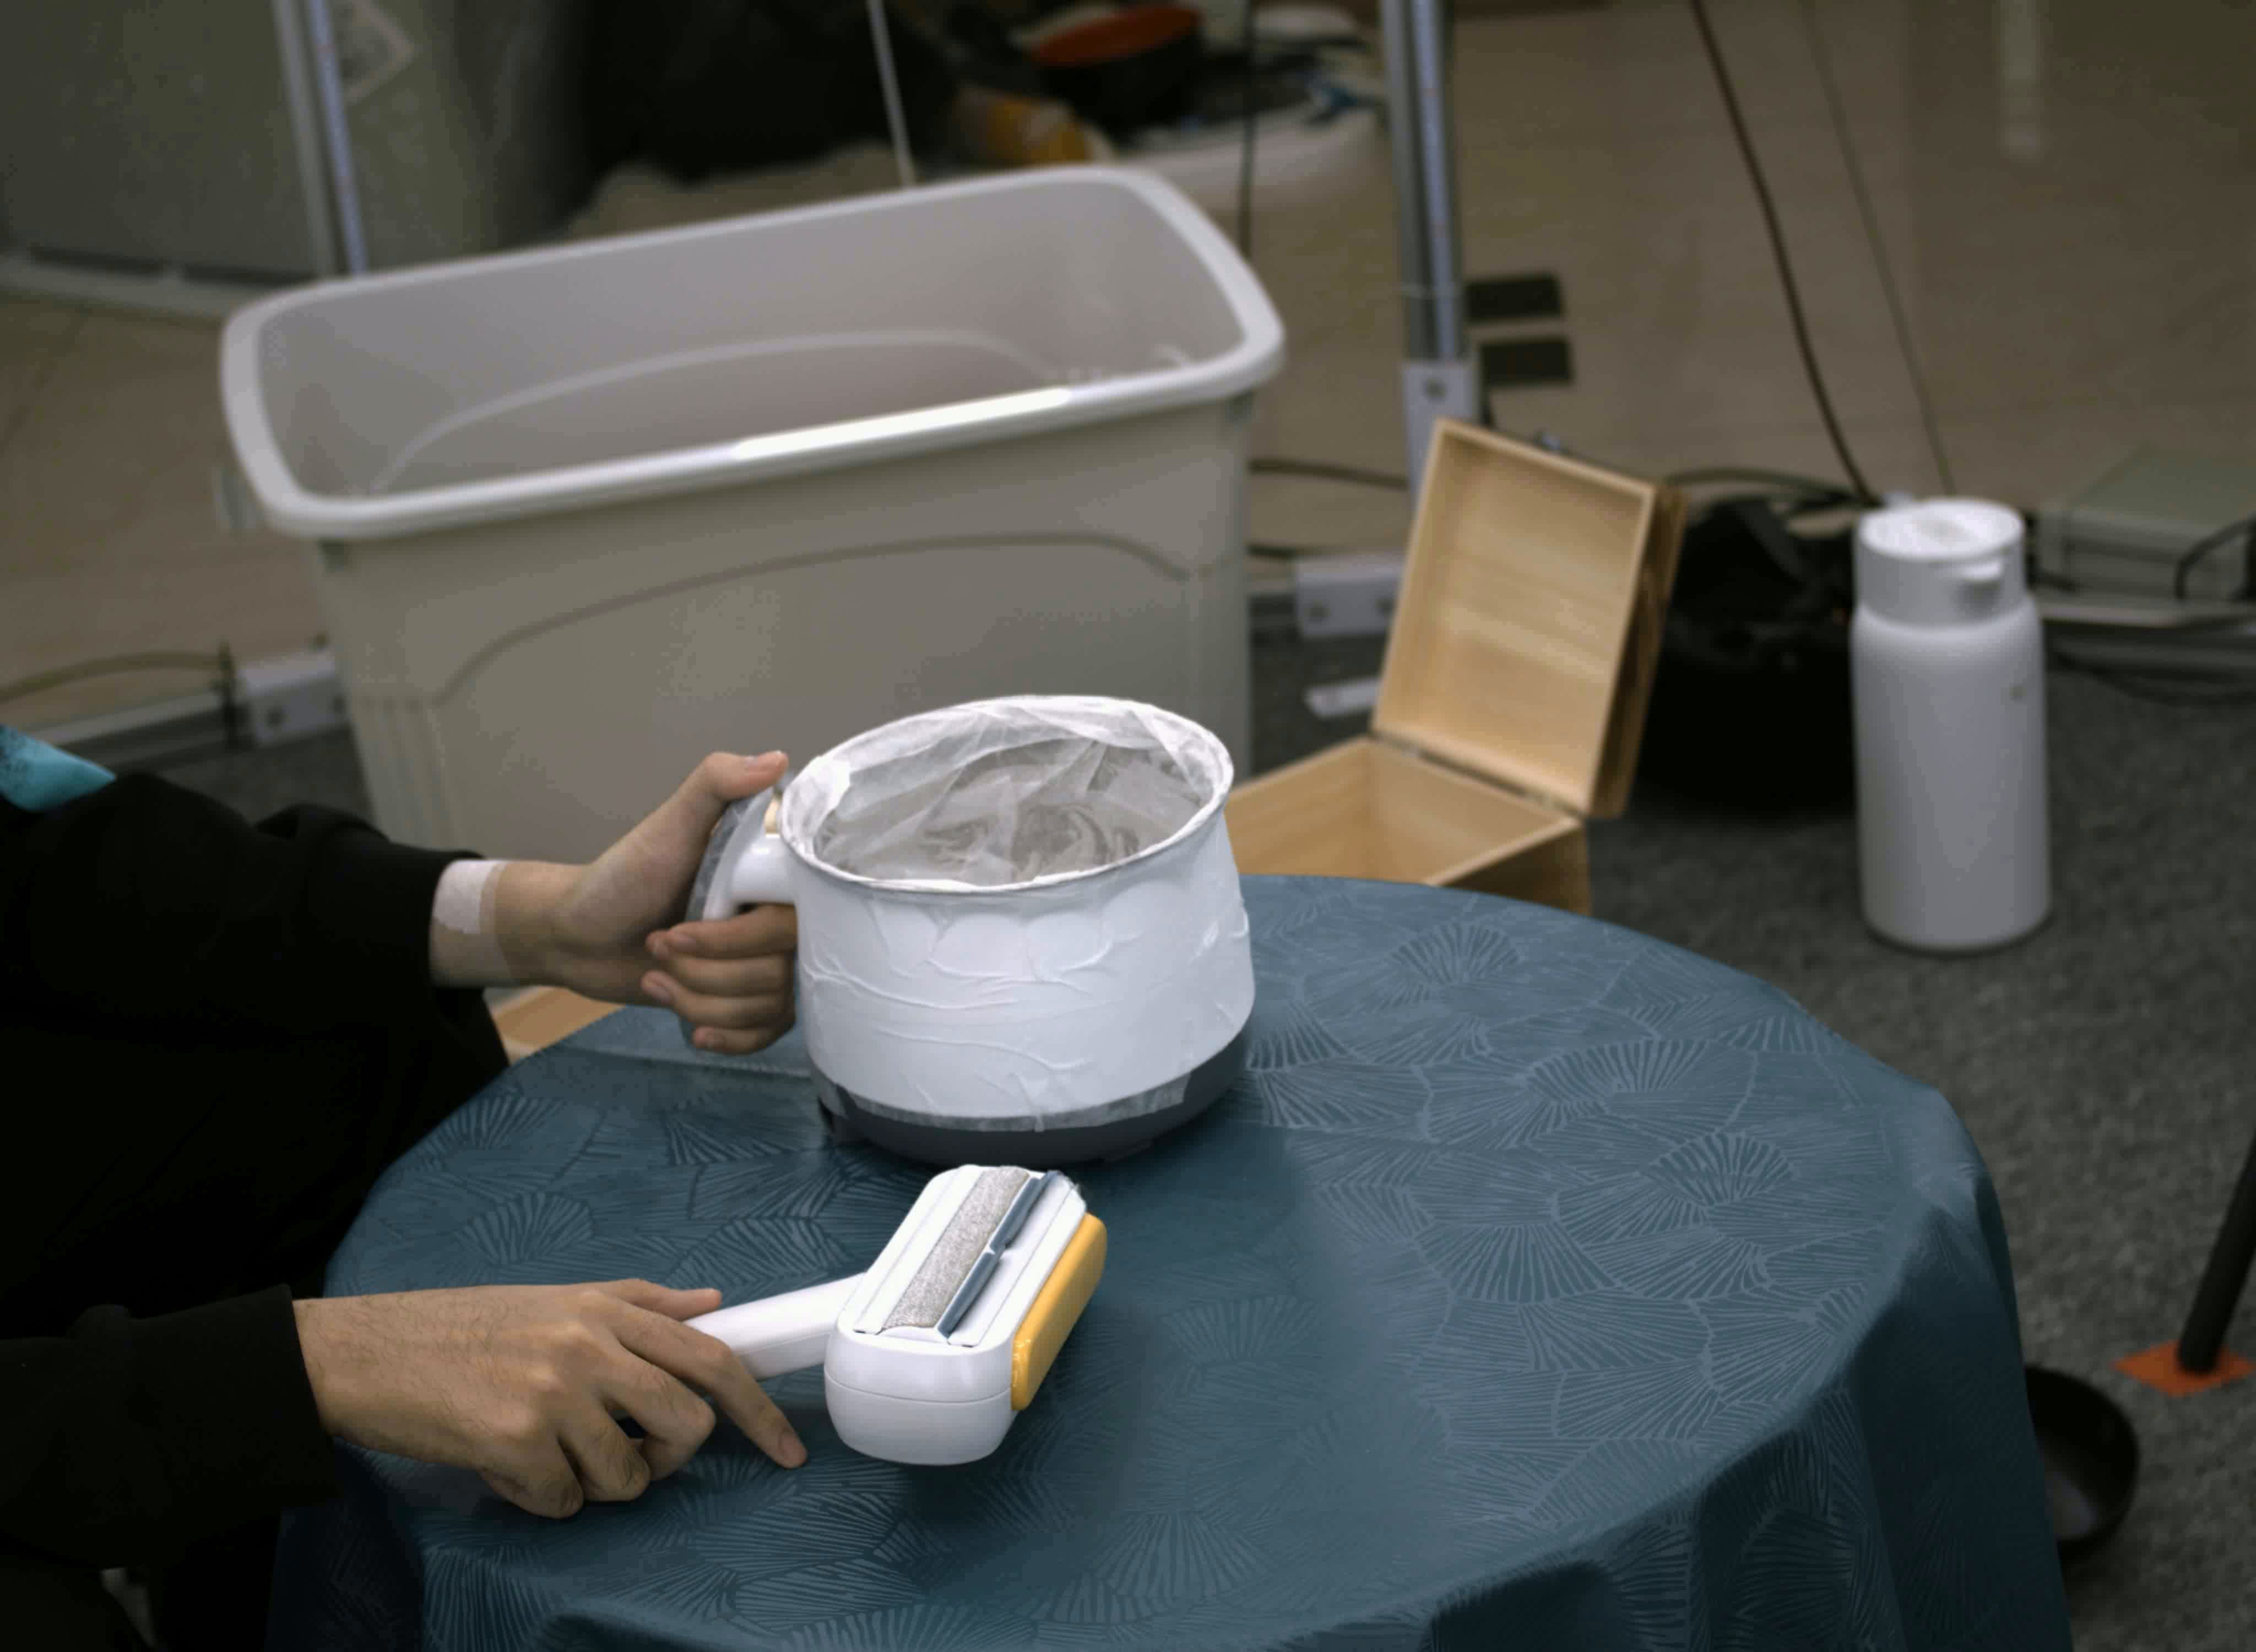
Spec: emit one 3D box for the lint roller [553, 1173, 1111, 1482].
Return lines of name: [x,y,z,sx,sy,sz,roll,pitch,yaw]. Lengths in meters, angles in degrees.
lint roller: [-0.115,0.180,2.004,0.192,0.075,0.190,-1,20,16]

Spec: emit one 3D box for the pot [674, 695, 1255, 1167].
pot: [-0.068,0.041,2.201,0.233,0.139,0.176,2,25,14]
